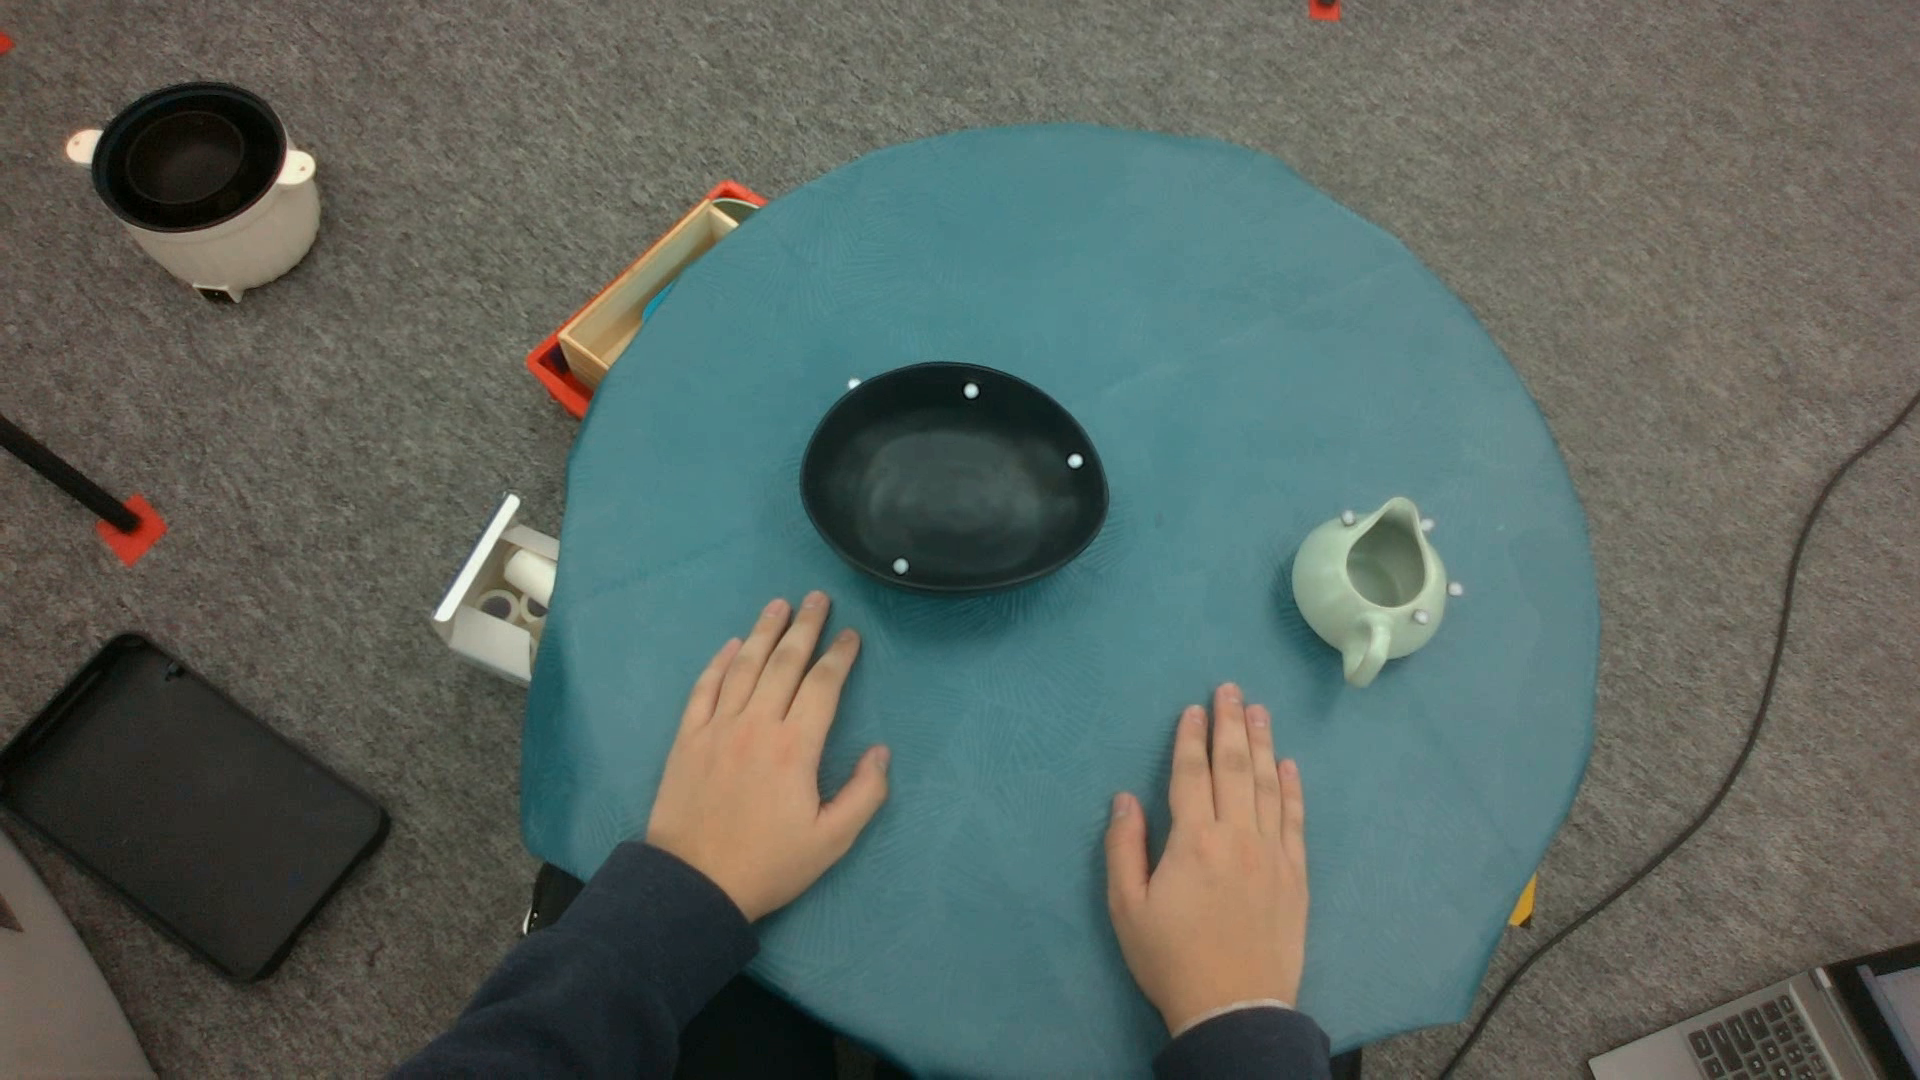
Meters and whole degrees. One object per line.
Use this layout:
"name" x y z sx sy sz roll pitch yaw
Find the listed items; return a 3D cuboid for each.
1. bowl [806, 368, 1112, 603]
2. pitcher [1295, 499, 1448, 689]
"bowl" -0.001 -0.023 0.780 0.170 0.066 0.138 3 68 -3
"pitcher" 0.232 0.034 0.774 0.086 0.060 0.108 15 69 4
